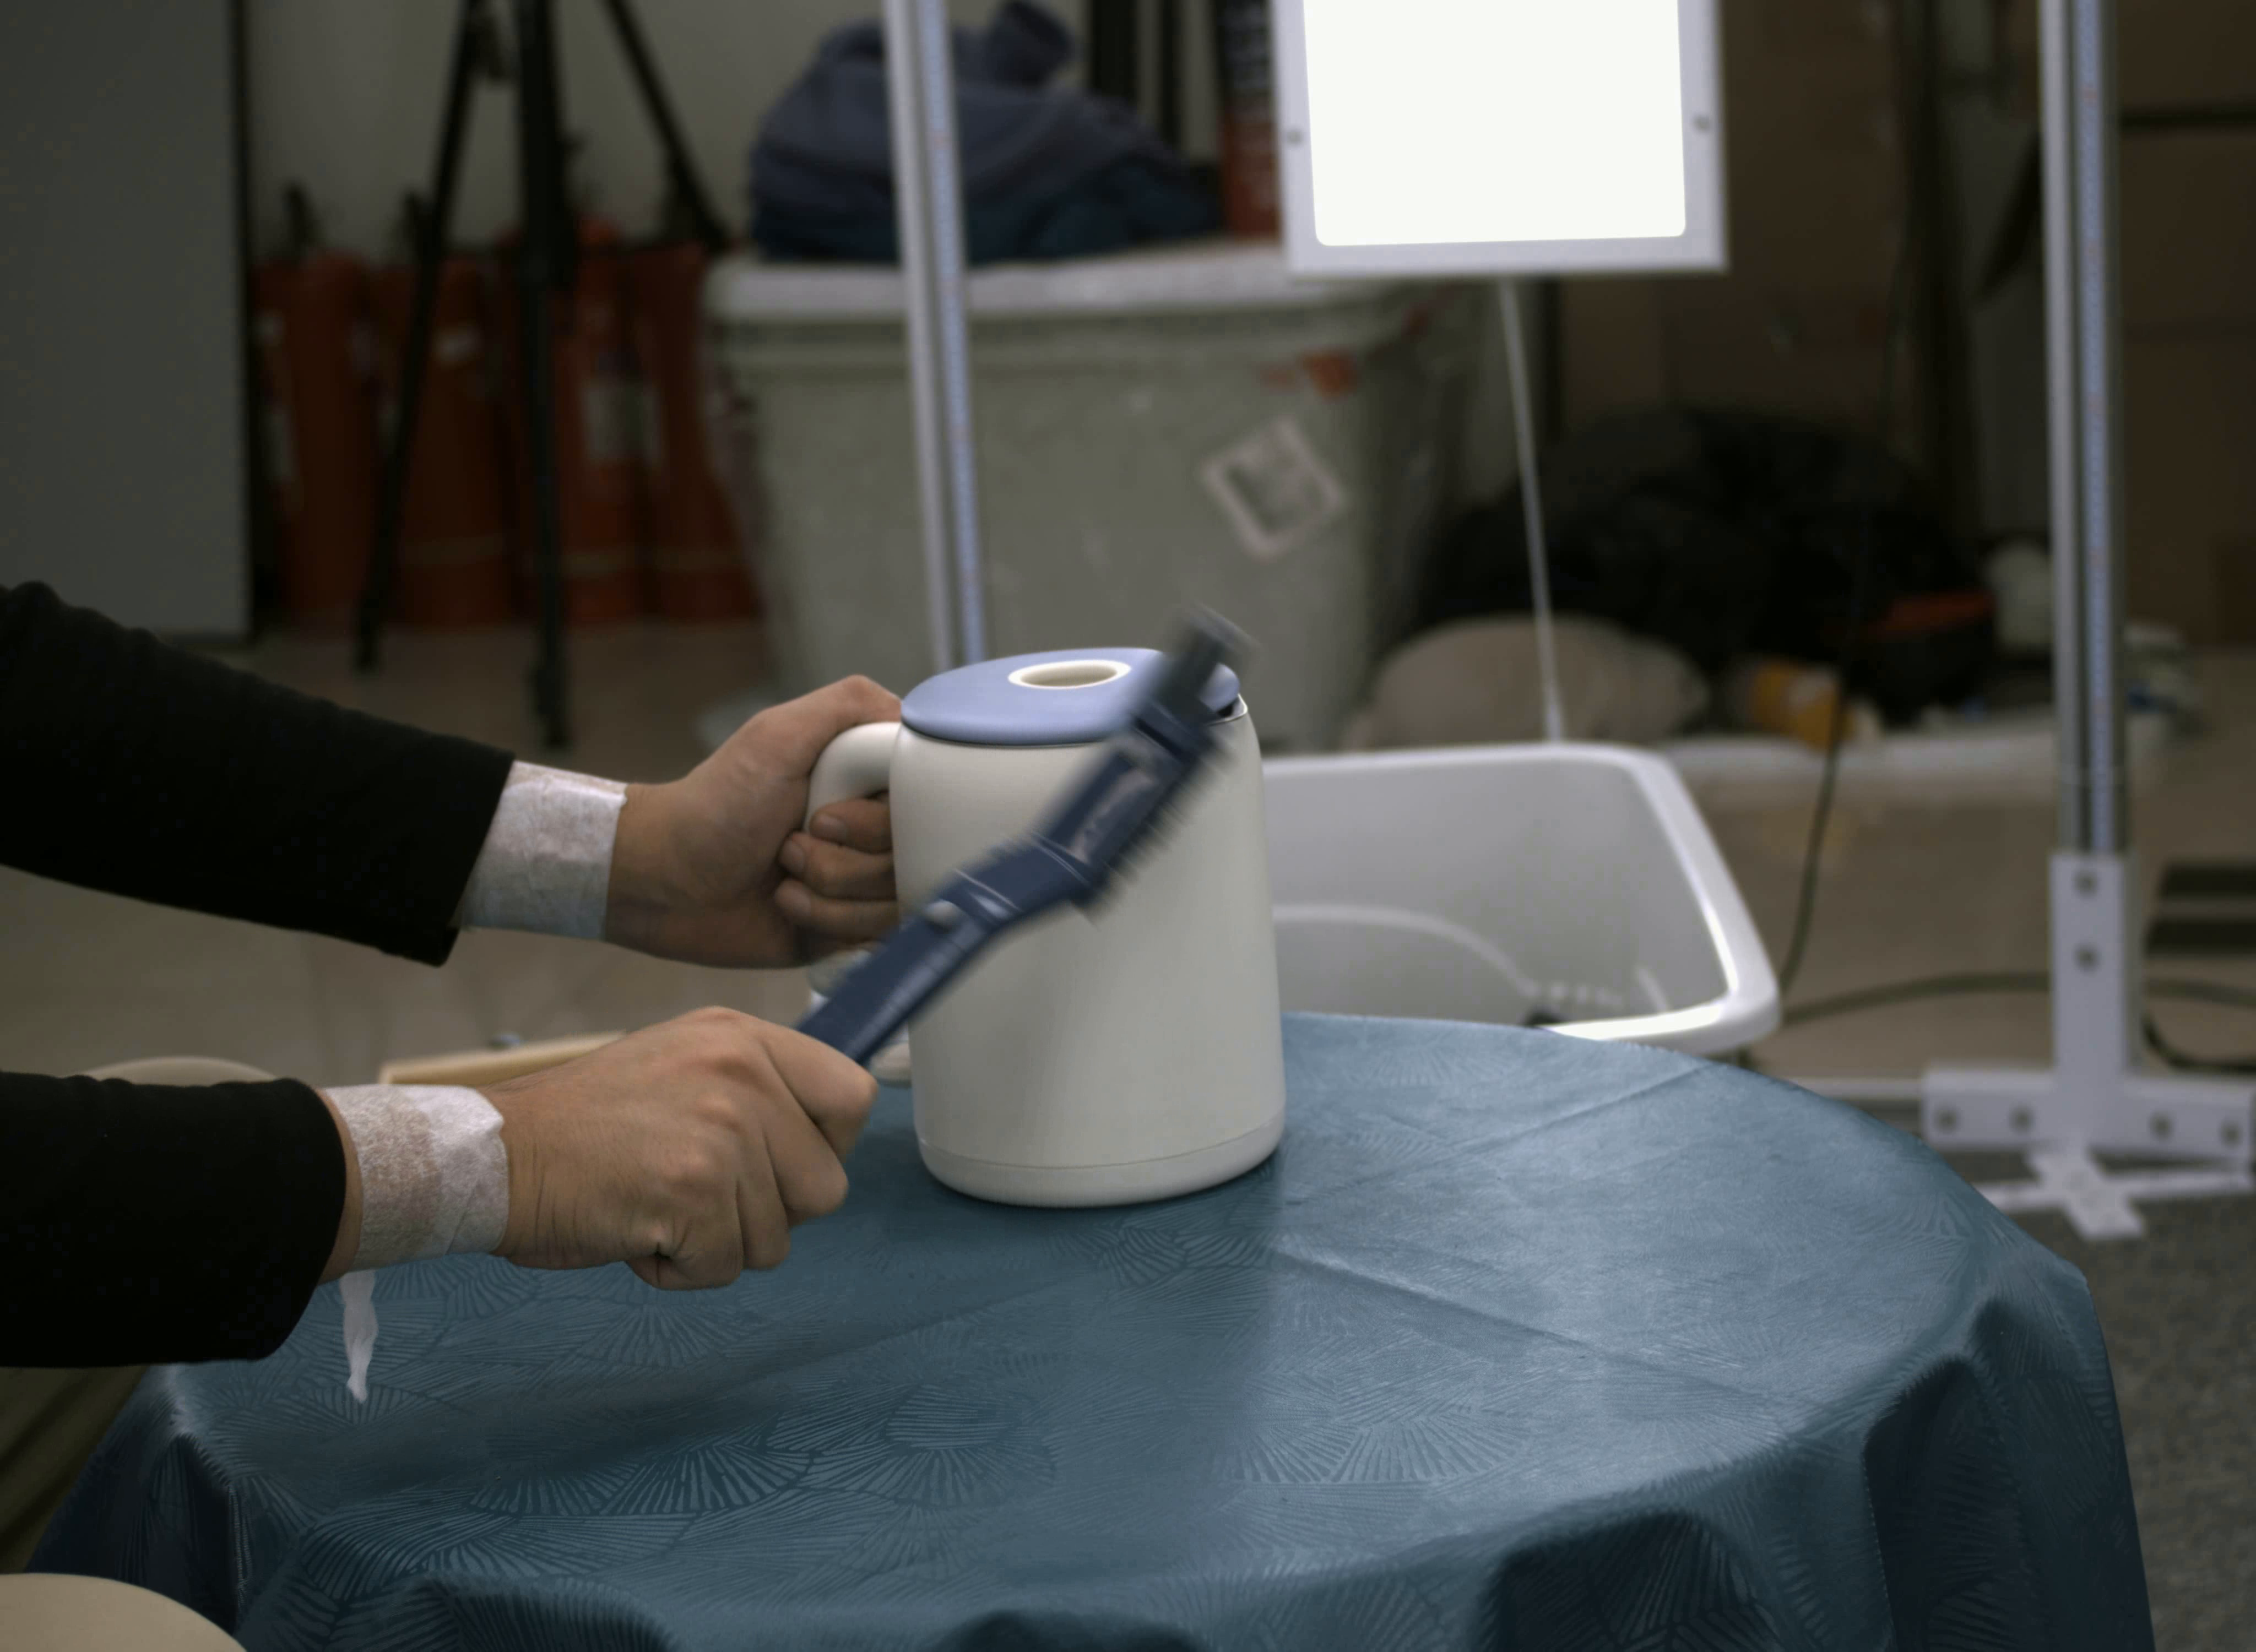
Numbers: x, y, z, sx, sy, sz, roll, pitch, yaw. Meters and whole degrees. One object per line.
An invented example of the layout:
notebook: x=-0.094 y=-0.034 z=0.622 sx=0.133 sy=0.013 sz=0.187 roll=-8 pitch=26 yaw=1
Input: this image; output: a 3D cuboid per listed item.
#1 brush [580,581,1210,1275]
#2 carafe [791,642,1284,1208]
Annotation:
brush: x=-0.071 y=0.031 z=1.753 sx=0.034 sy=0.096 sz=0.269 roll=36 pitch=62 yaw=20
carafe: x=-0.036 y=0.033 z=1.933 sx=0.195 sy=0.183 sz=0.129 roll=3 pitch=15 yaw=31
